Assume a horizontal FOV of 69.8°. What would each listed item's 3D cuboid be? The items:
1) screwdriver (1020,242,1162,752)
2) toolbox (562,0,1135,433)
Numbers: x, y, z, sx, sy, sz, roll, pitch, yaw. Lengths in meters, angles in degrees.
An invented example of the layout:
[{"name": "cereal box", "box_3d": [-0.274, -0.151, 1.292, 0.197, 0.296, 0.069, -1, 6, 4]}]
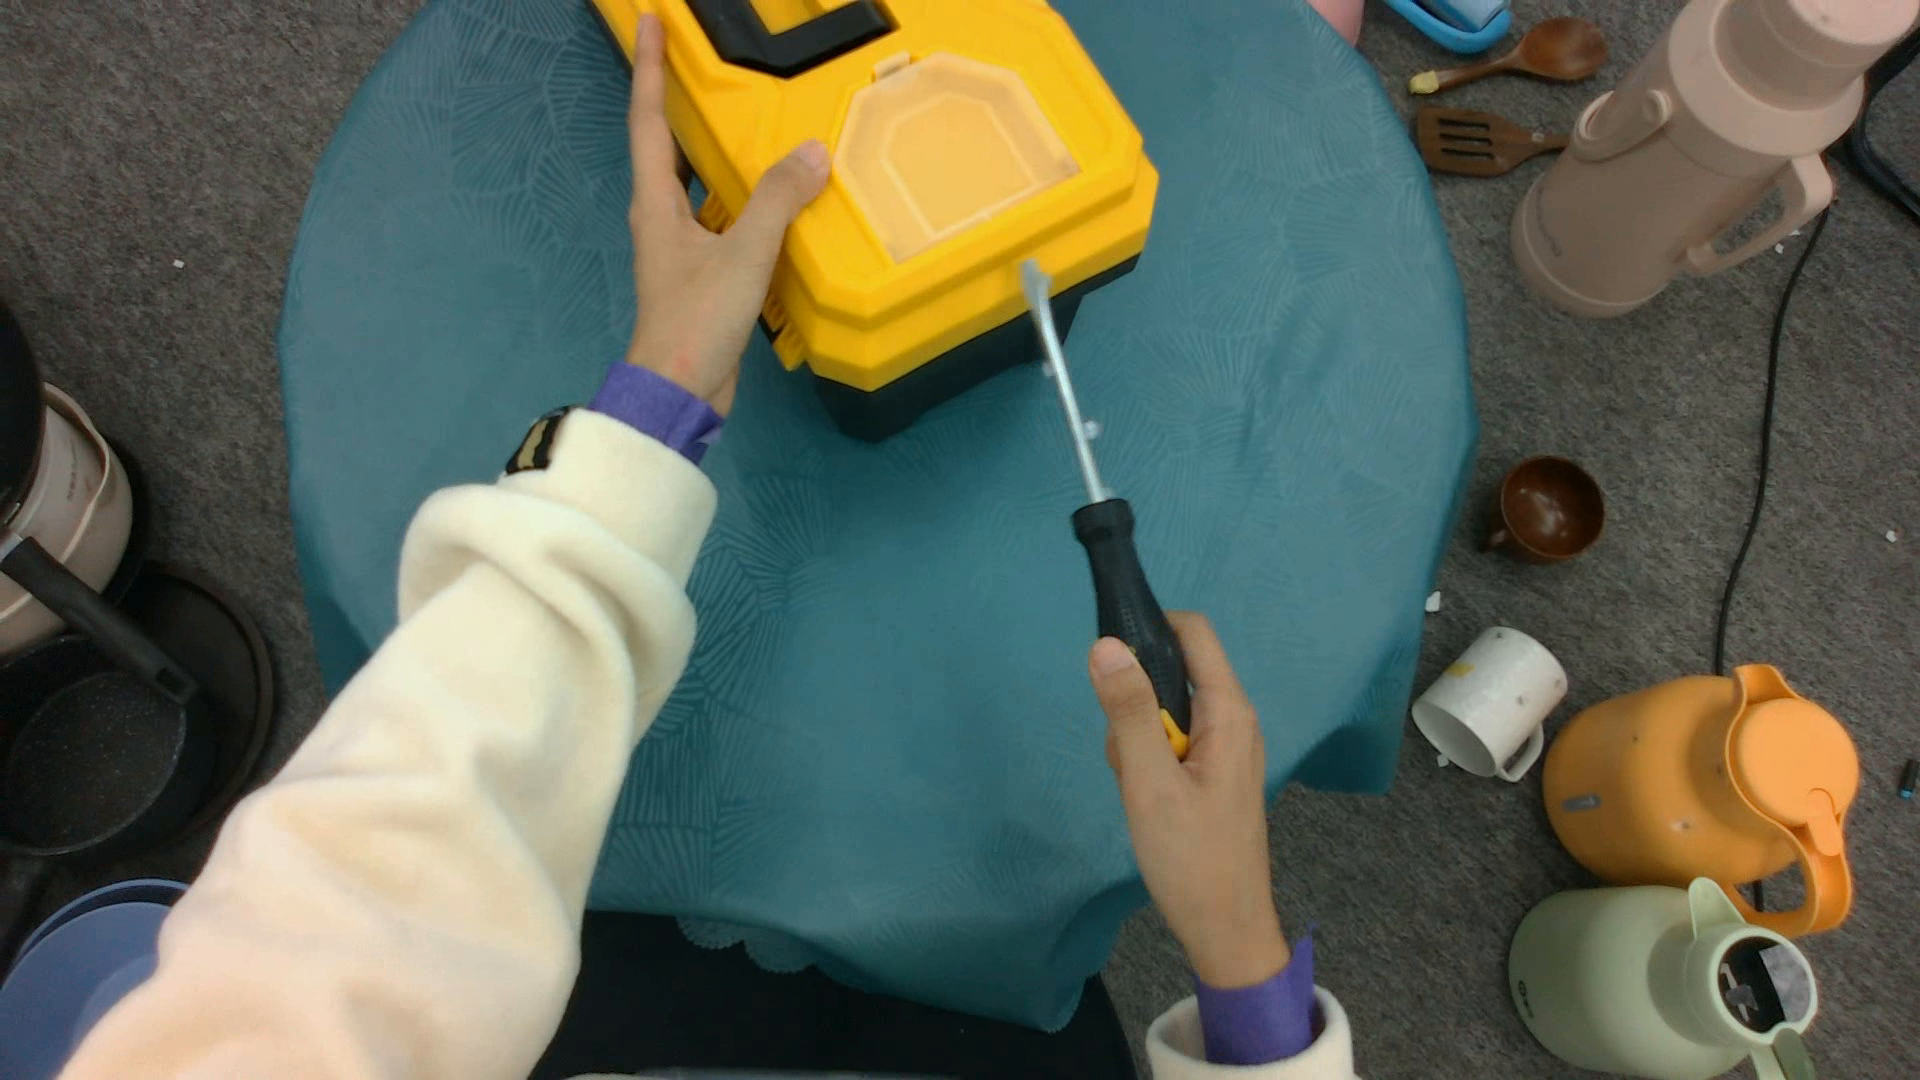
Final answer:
[{"name": "screwdriver", "box_3d": [0.042, -0.018, 0.521, 0.031, 0.031, 0.198, -13, 80, -8]}, {"name": "toolbox", "box_3d": [-0.080, -0.233, 0.641, 0.181, 0.172, 0.352, -29, 78, -12]}]
